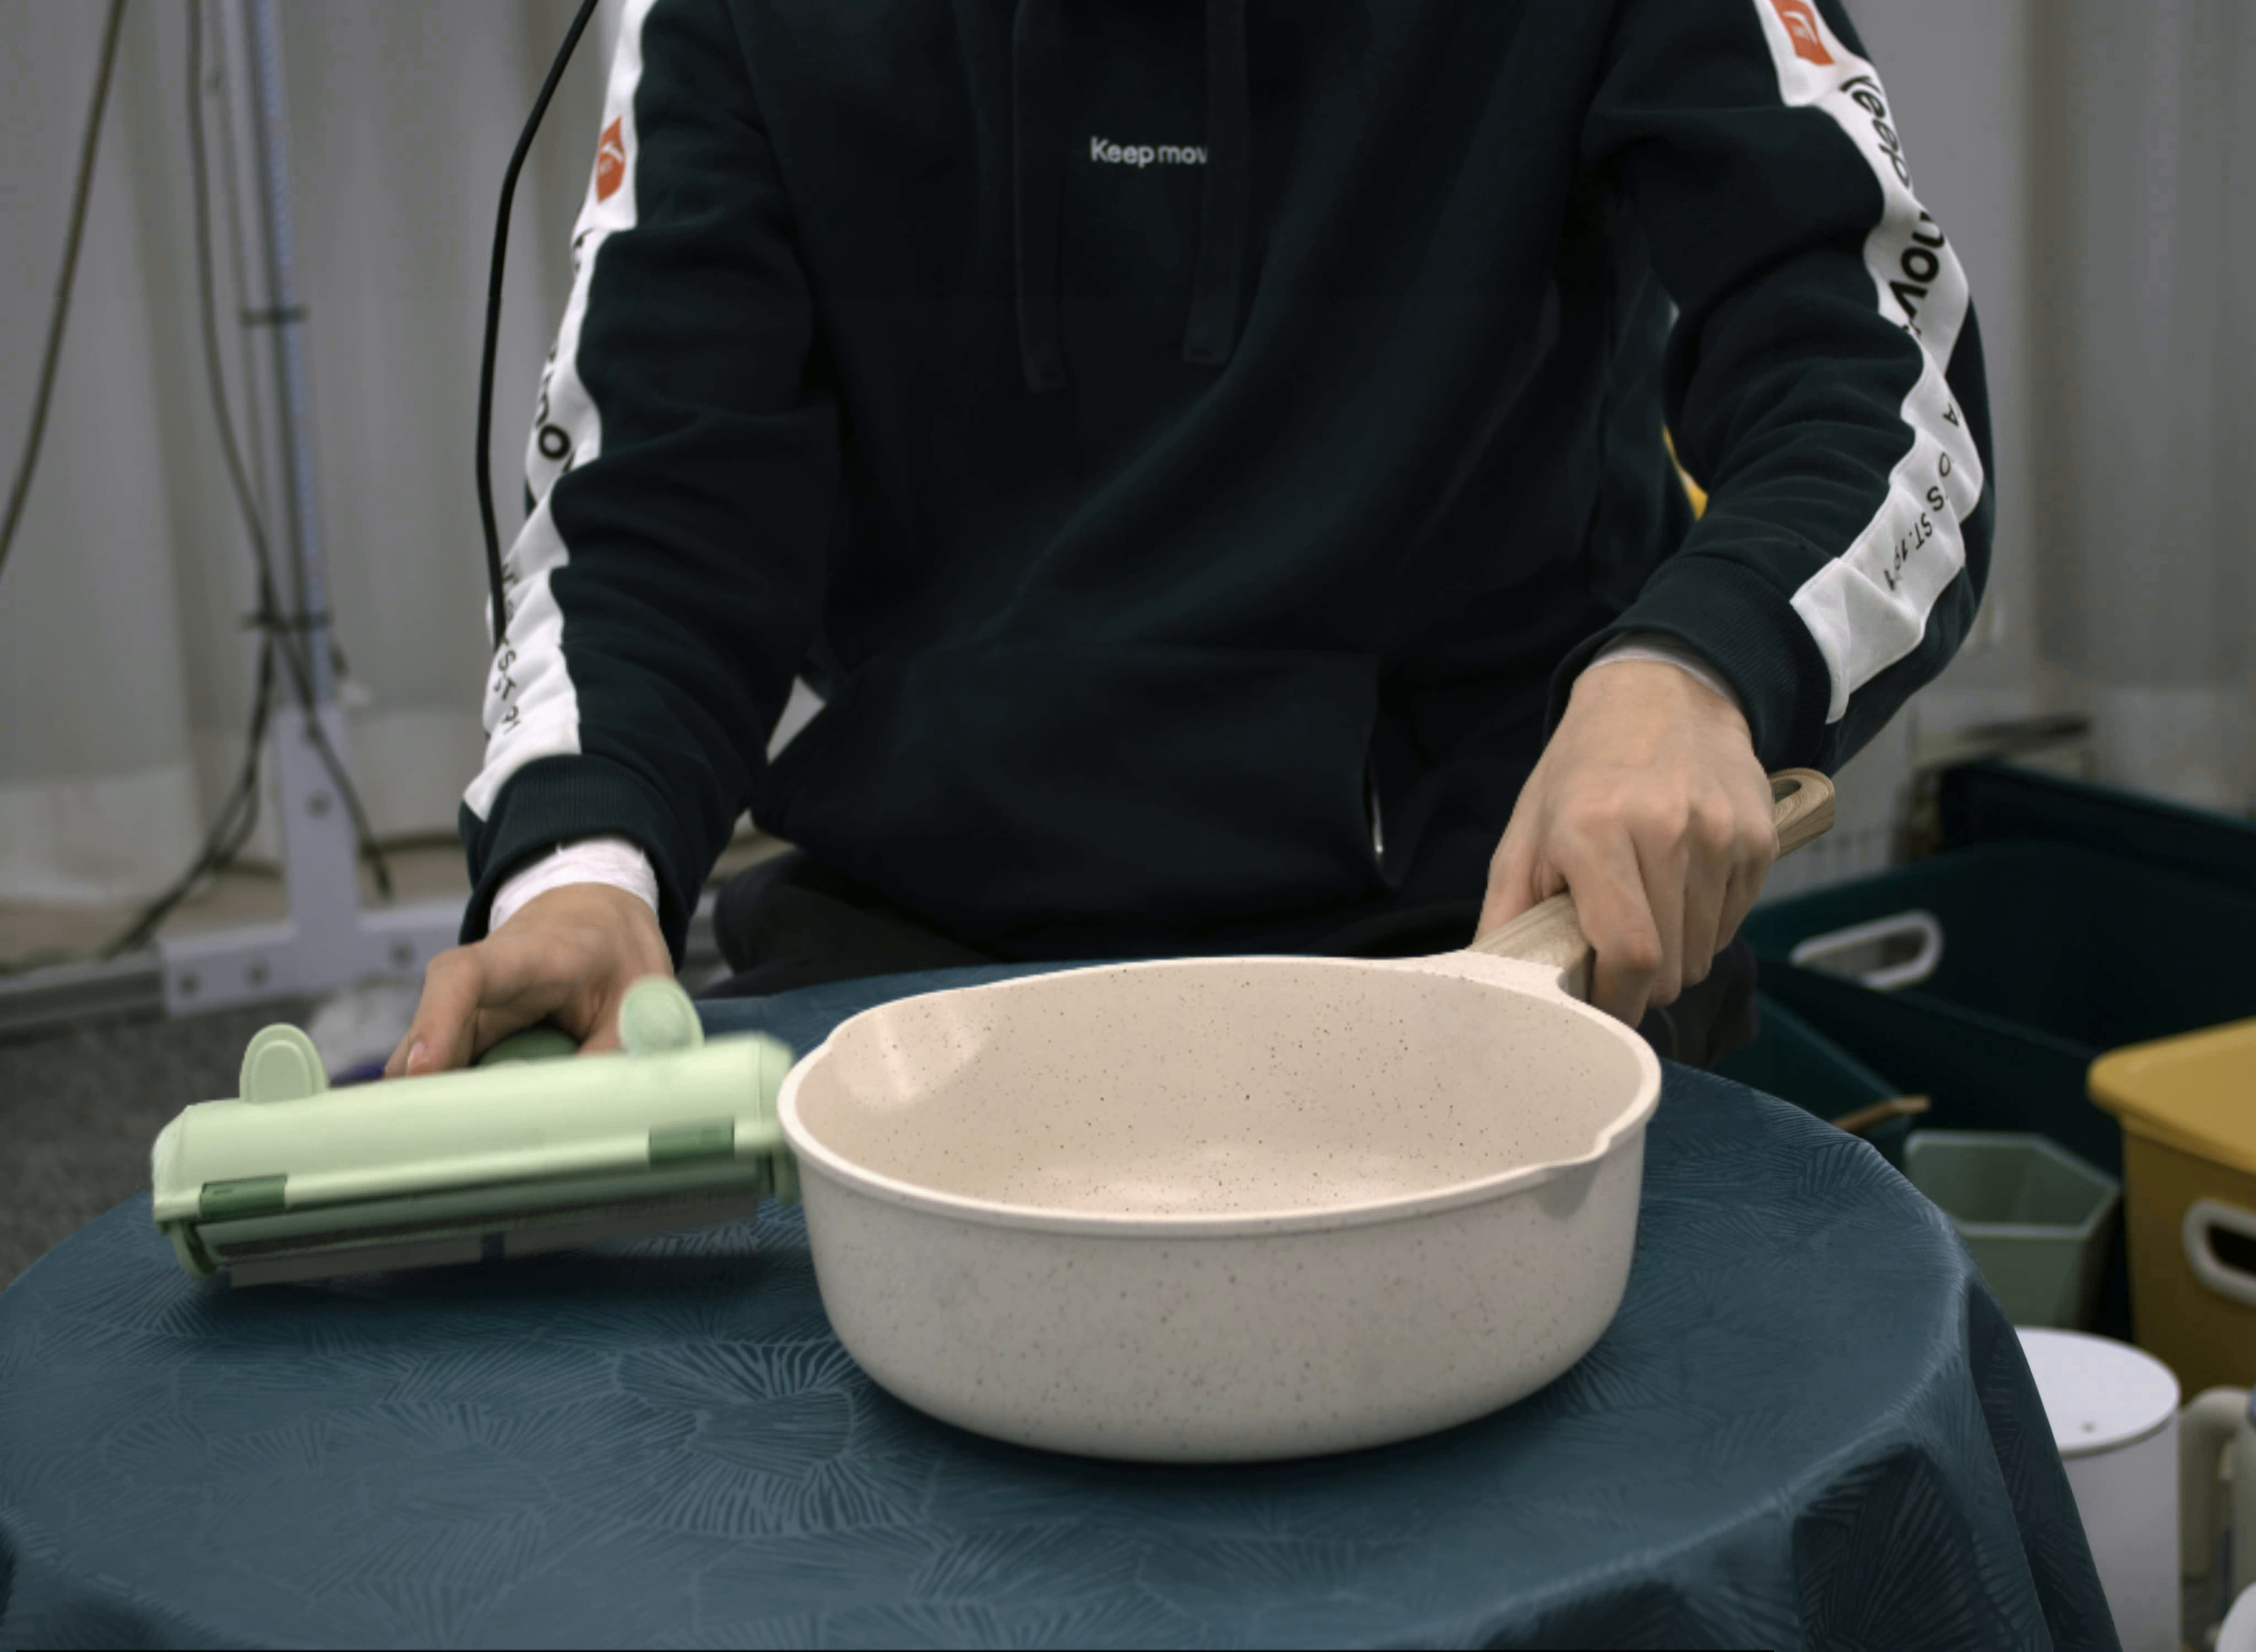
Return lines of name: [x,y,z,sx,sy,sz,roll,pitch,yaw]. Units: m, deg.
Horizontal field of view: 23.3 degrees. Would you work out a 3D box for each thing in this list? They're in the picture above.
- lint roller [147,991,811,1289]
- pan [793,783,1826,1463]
lint roller: [-0.196,0.076,1.707,0.198,0.081,0.185,-6,22,3]
pan: [0.089,0.083,1.623,0.264,0.101,0.434,7,17,38]
